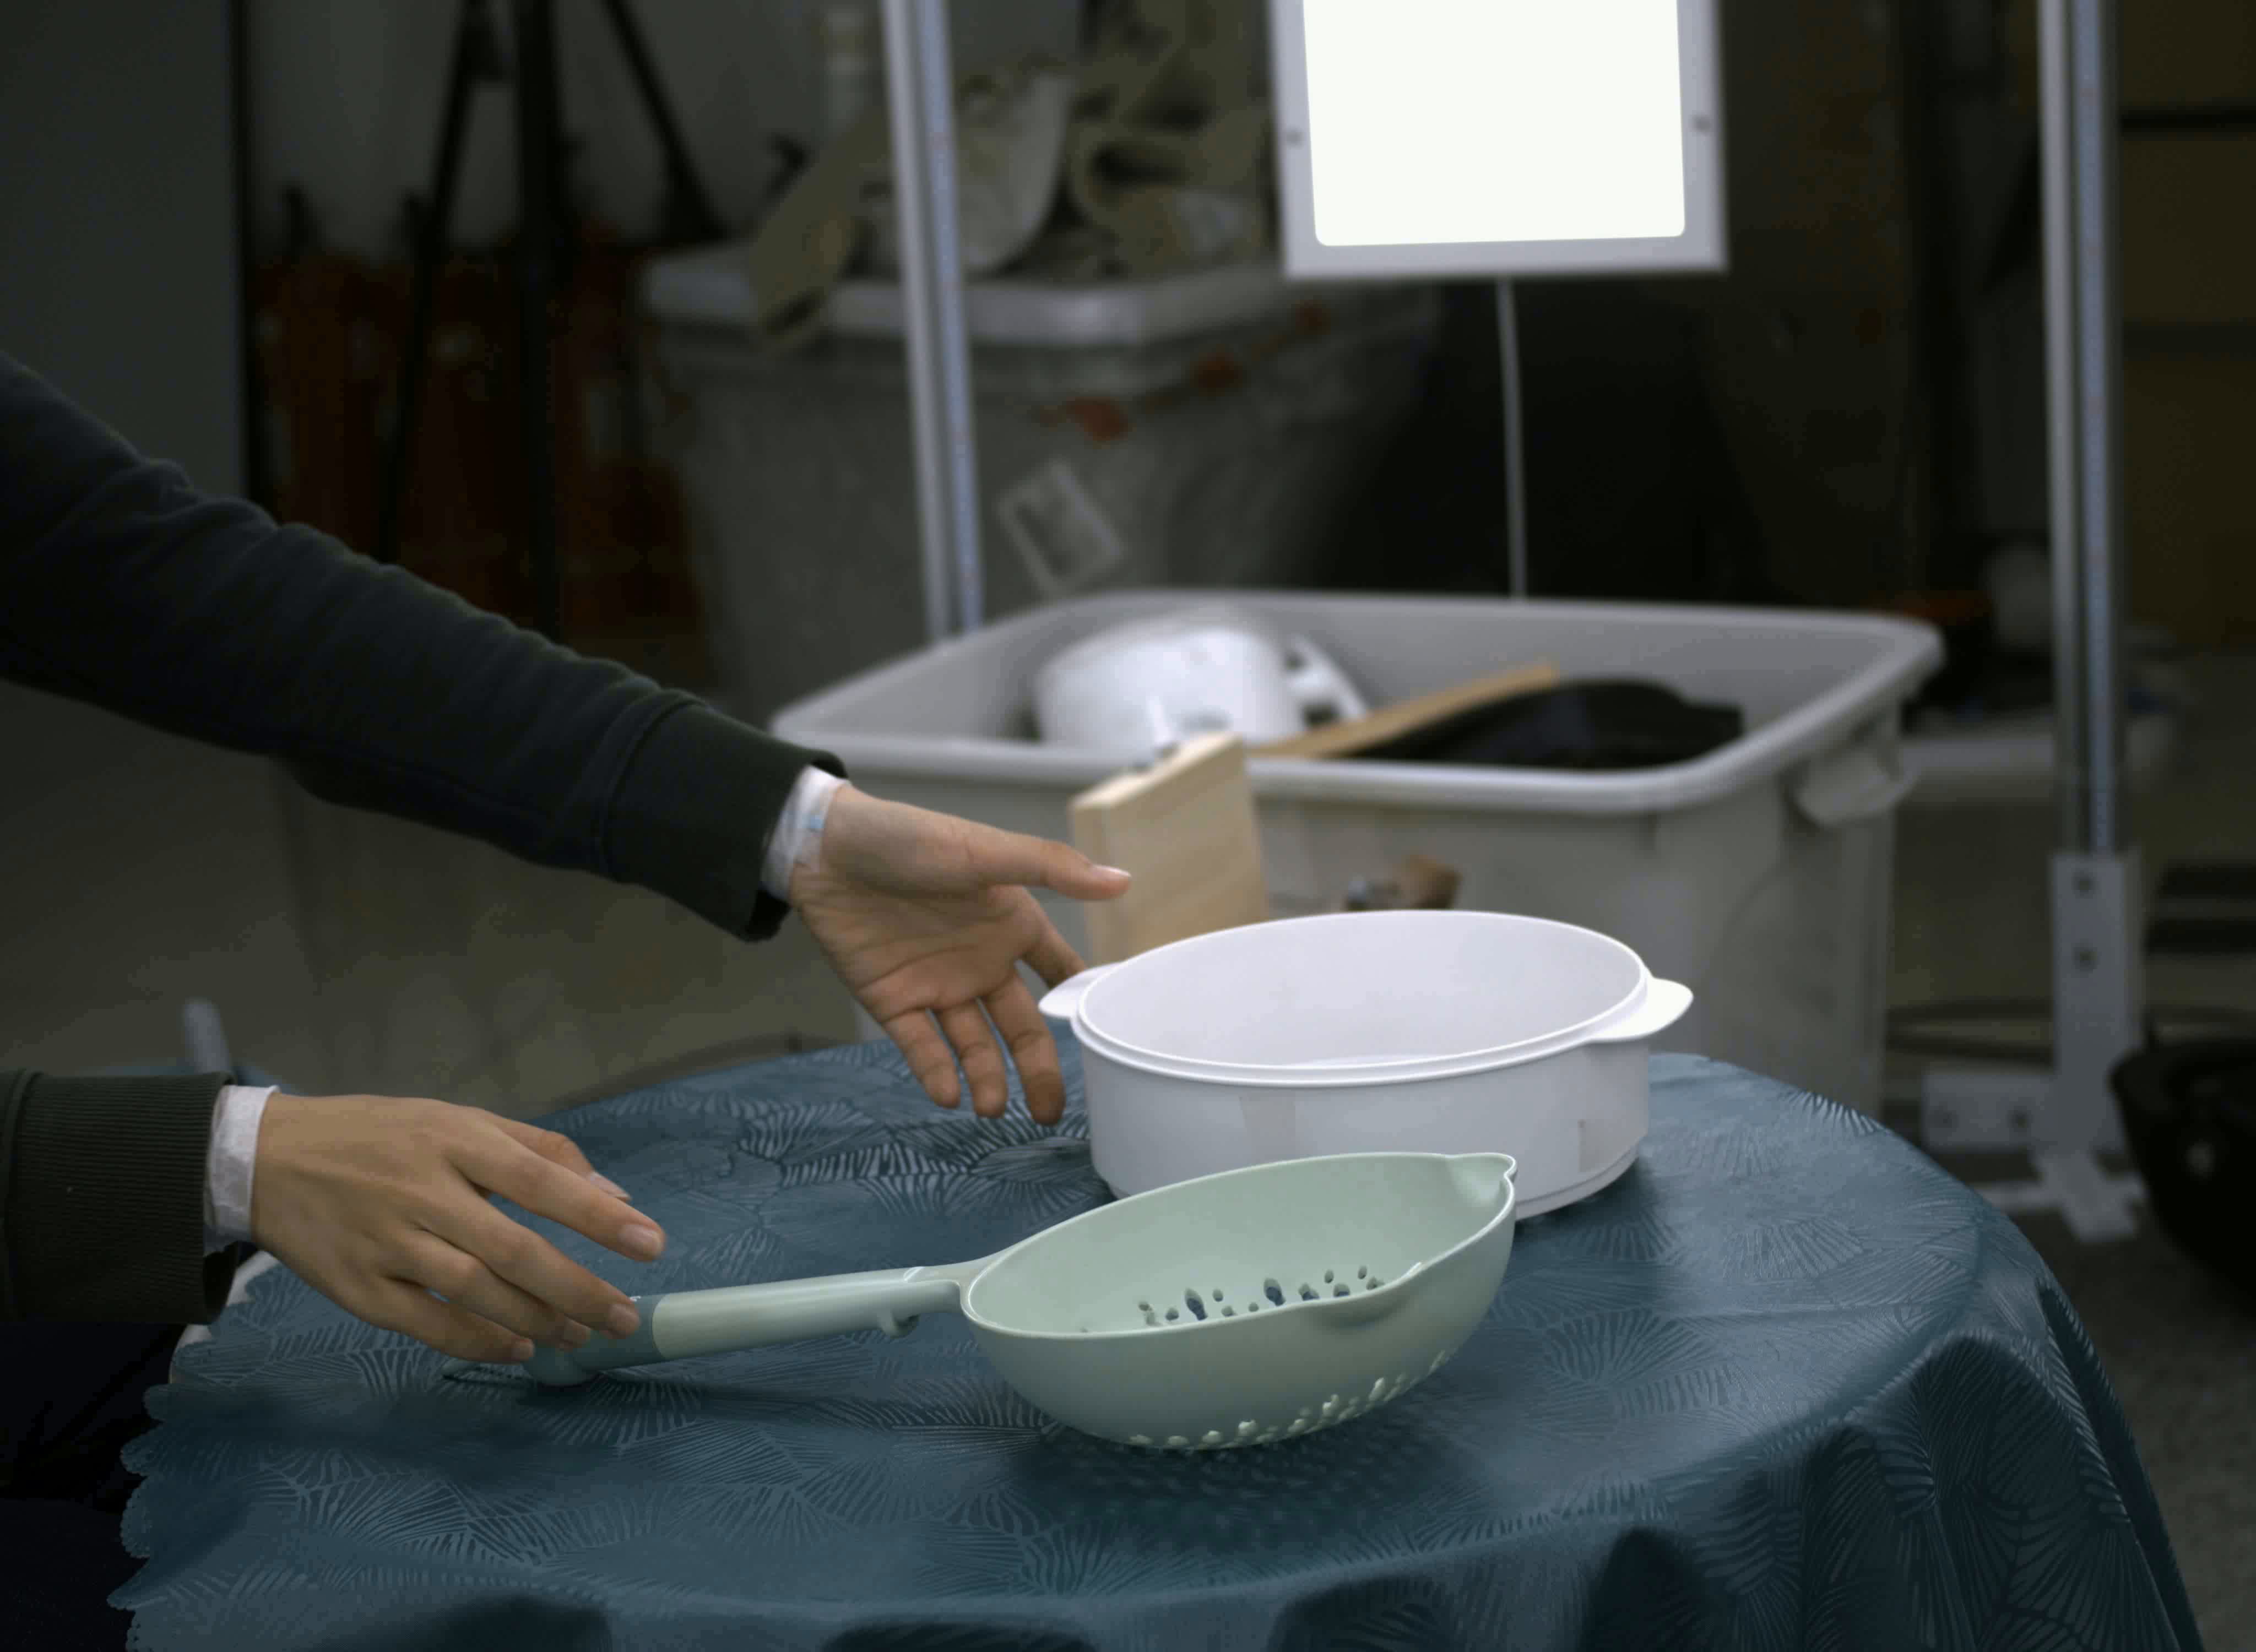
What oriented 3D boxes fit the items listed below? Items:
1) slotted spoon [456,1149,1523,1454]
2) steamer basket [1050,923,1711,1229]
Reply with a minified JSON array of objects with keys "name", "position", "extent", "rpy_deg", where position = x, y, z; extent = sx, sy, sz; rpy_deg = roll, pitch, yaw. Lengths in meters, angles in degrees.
[{"name":"slotted spoon","position":[-0.052,0.148,1.694],"extent":[0.364,0.075,0.166],"rpy_deg":[1,14,24]},{"name":"steamer basket","position":[0.087,0.089,1.887],"extent":[0.234,0.069,0.198],"rpy_deg":[1,14,23]}]
